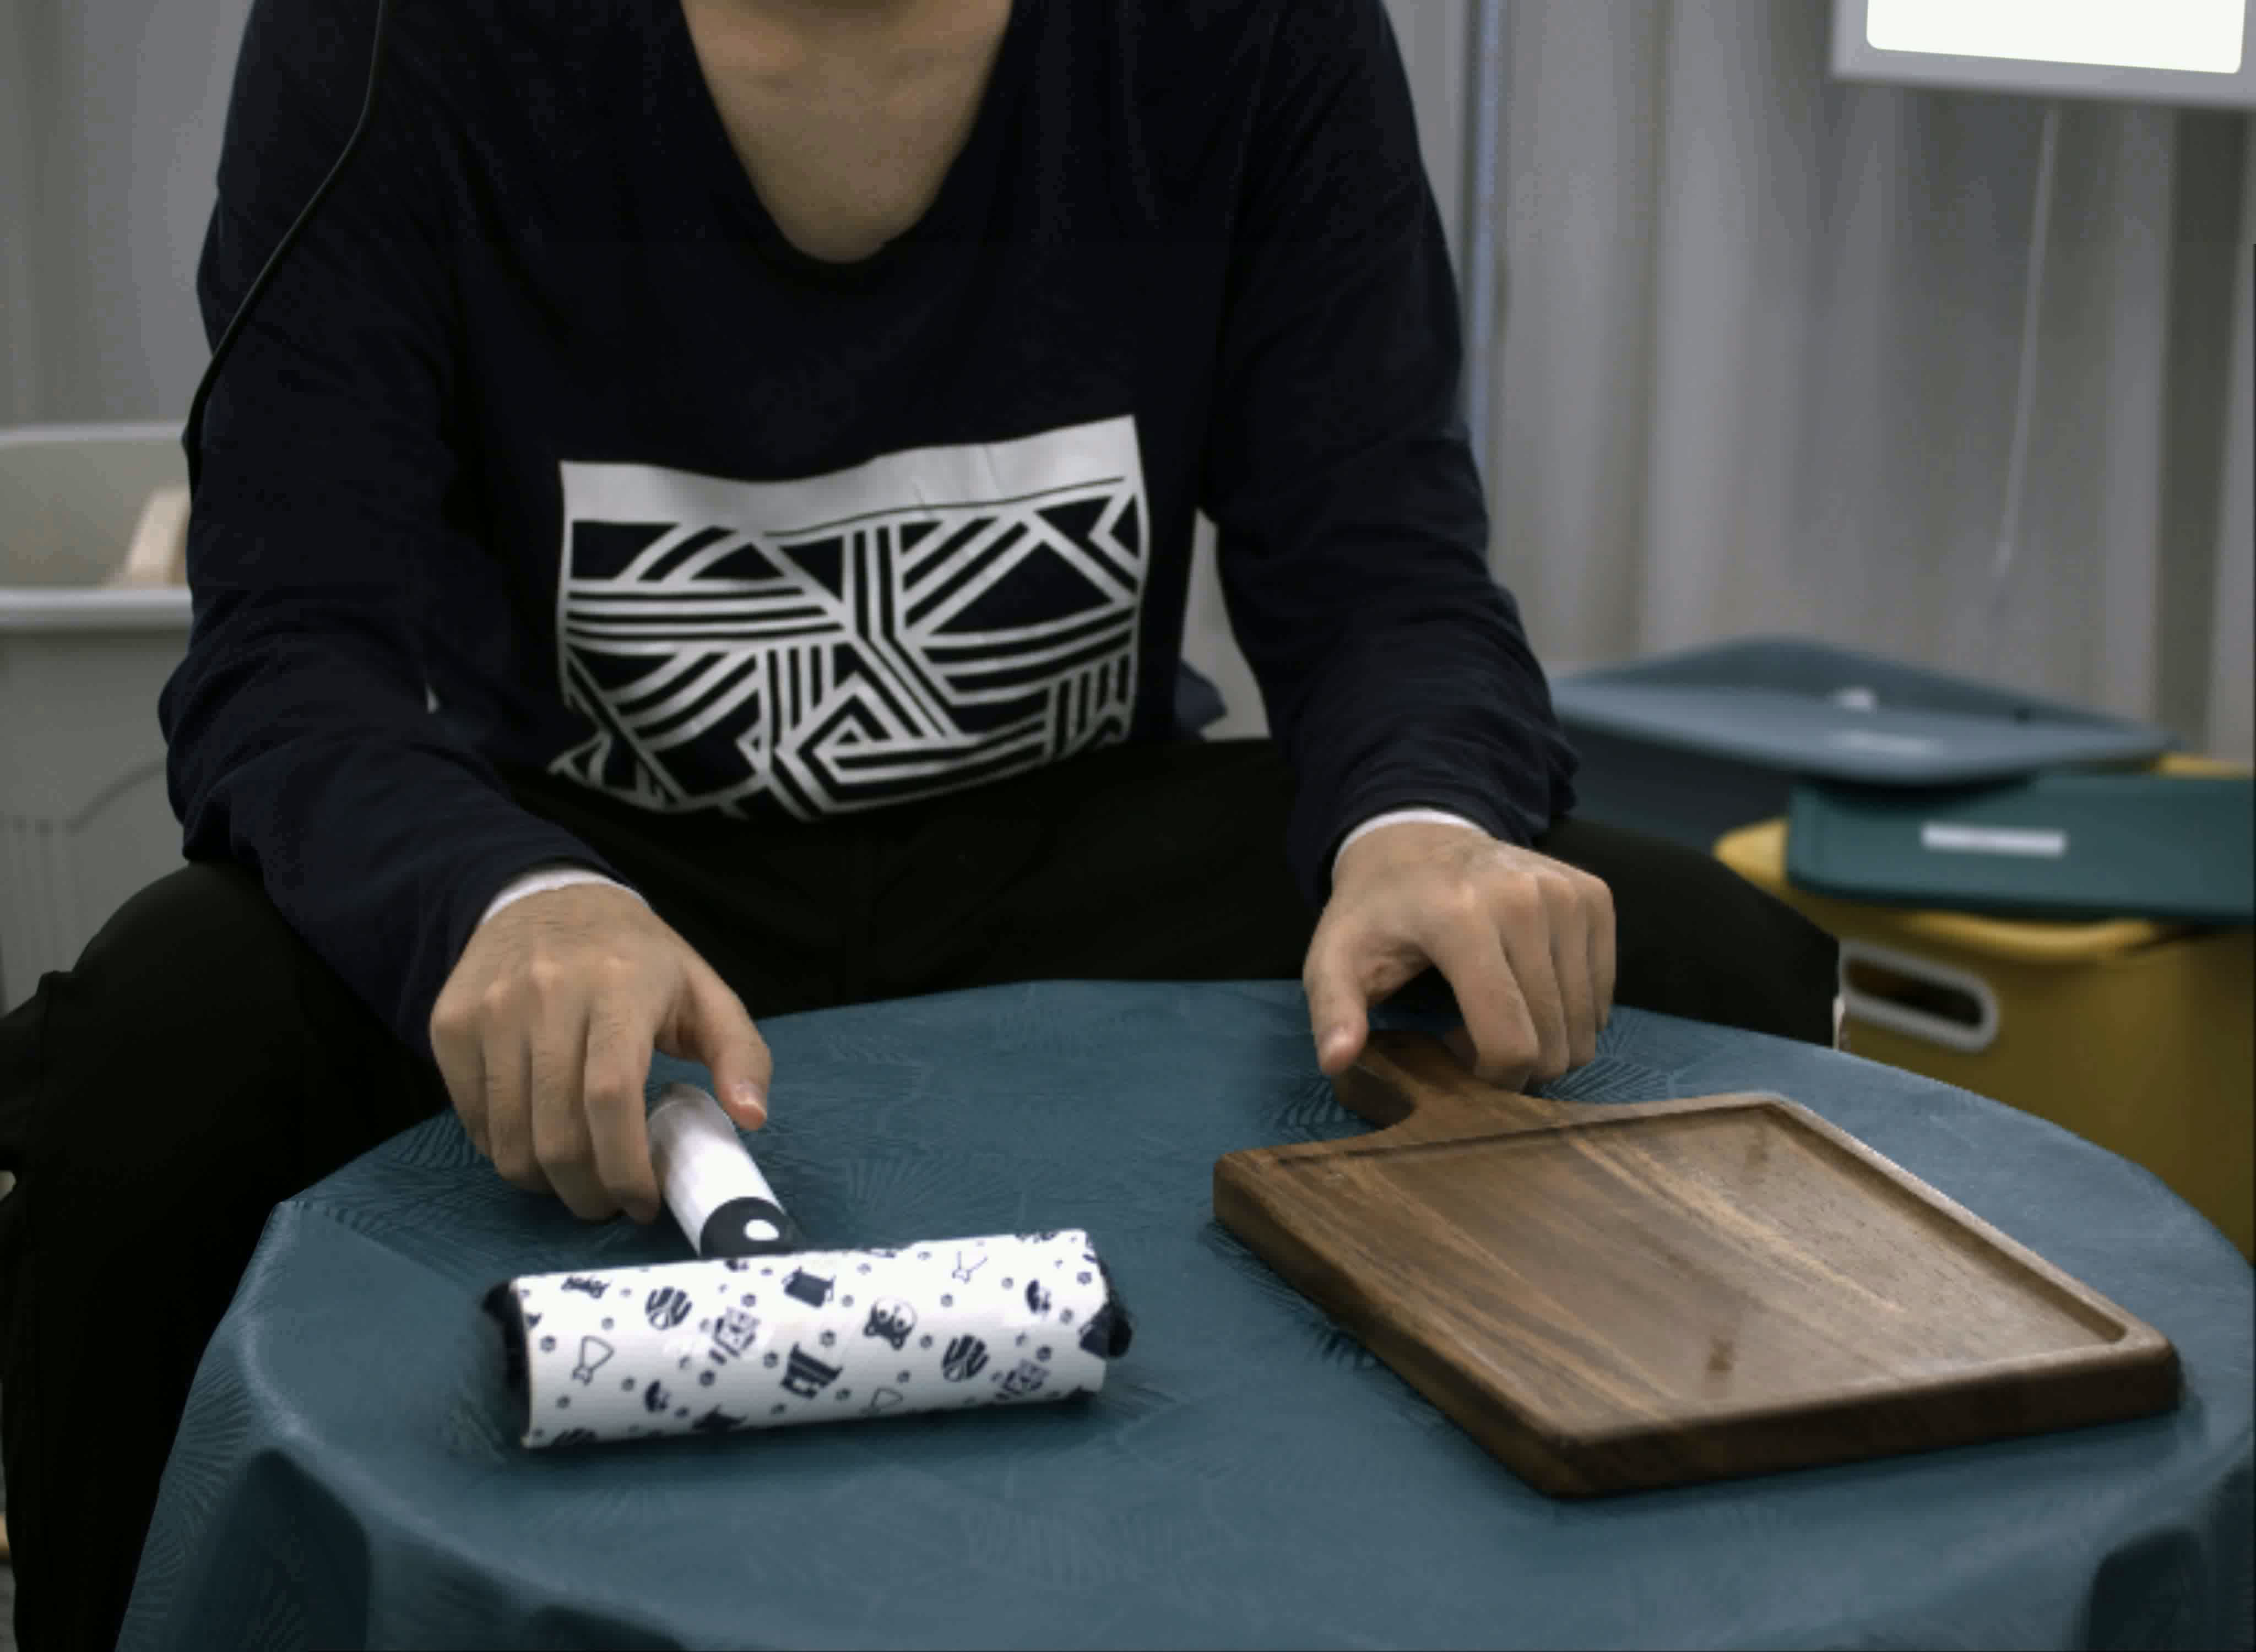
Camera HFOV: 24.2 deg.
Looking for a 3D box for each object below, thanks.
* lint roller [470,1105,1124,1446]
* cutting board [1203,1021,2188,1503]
[{"bbox_3d":[-0.116,0.116,1.529,0.176,0.051,0.244,-5,14,-15],"label":"lint roller"},{"bbox_3d":[0.140,0.118,1.571,0.201,0.023,0.348,-5,17,-21],"label":"cutting board"}]
